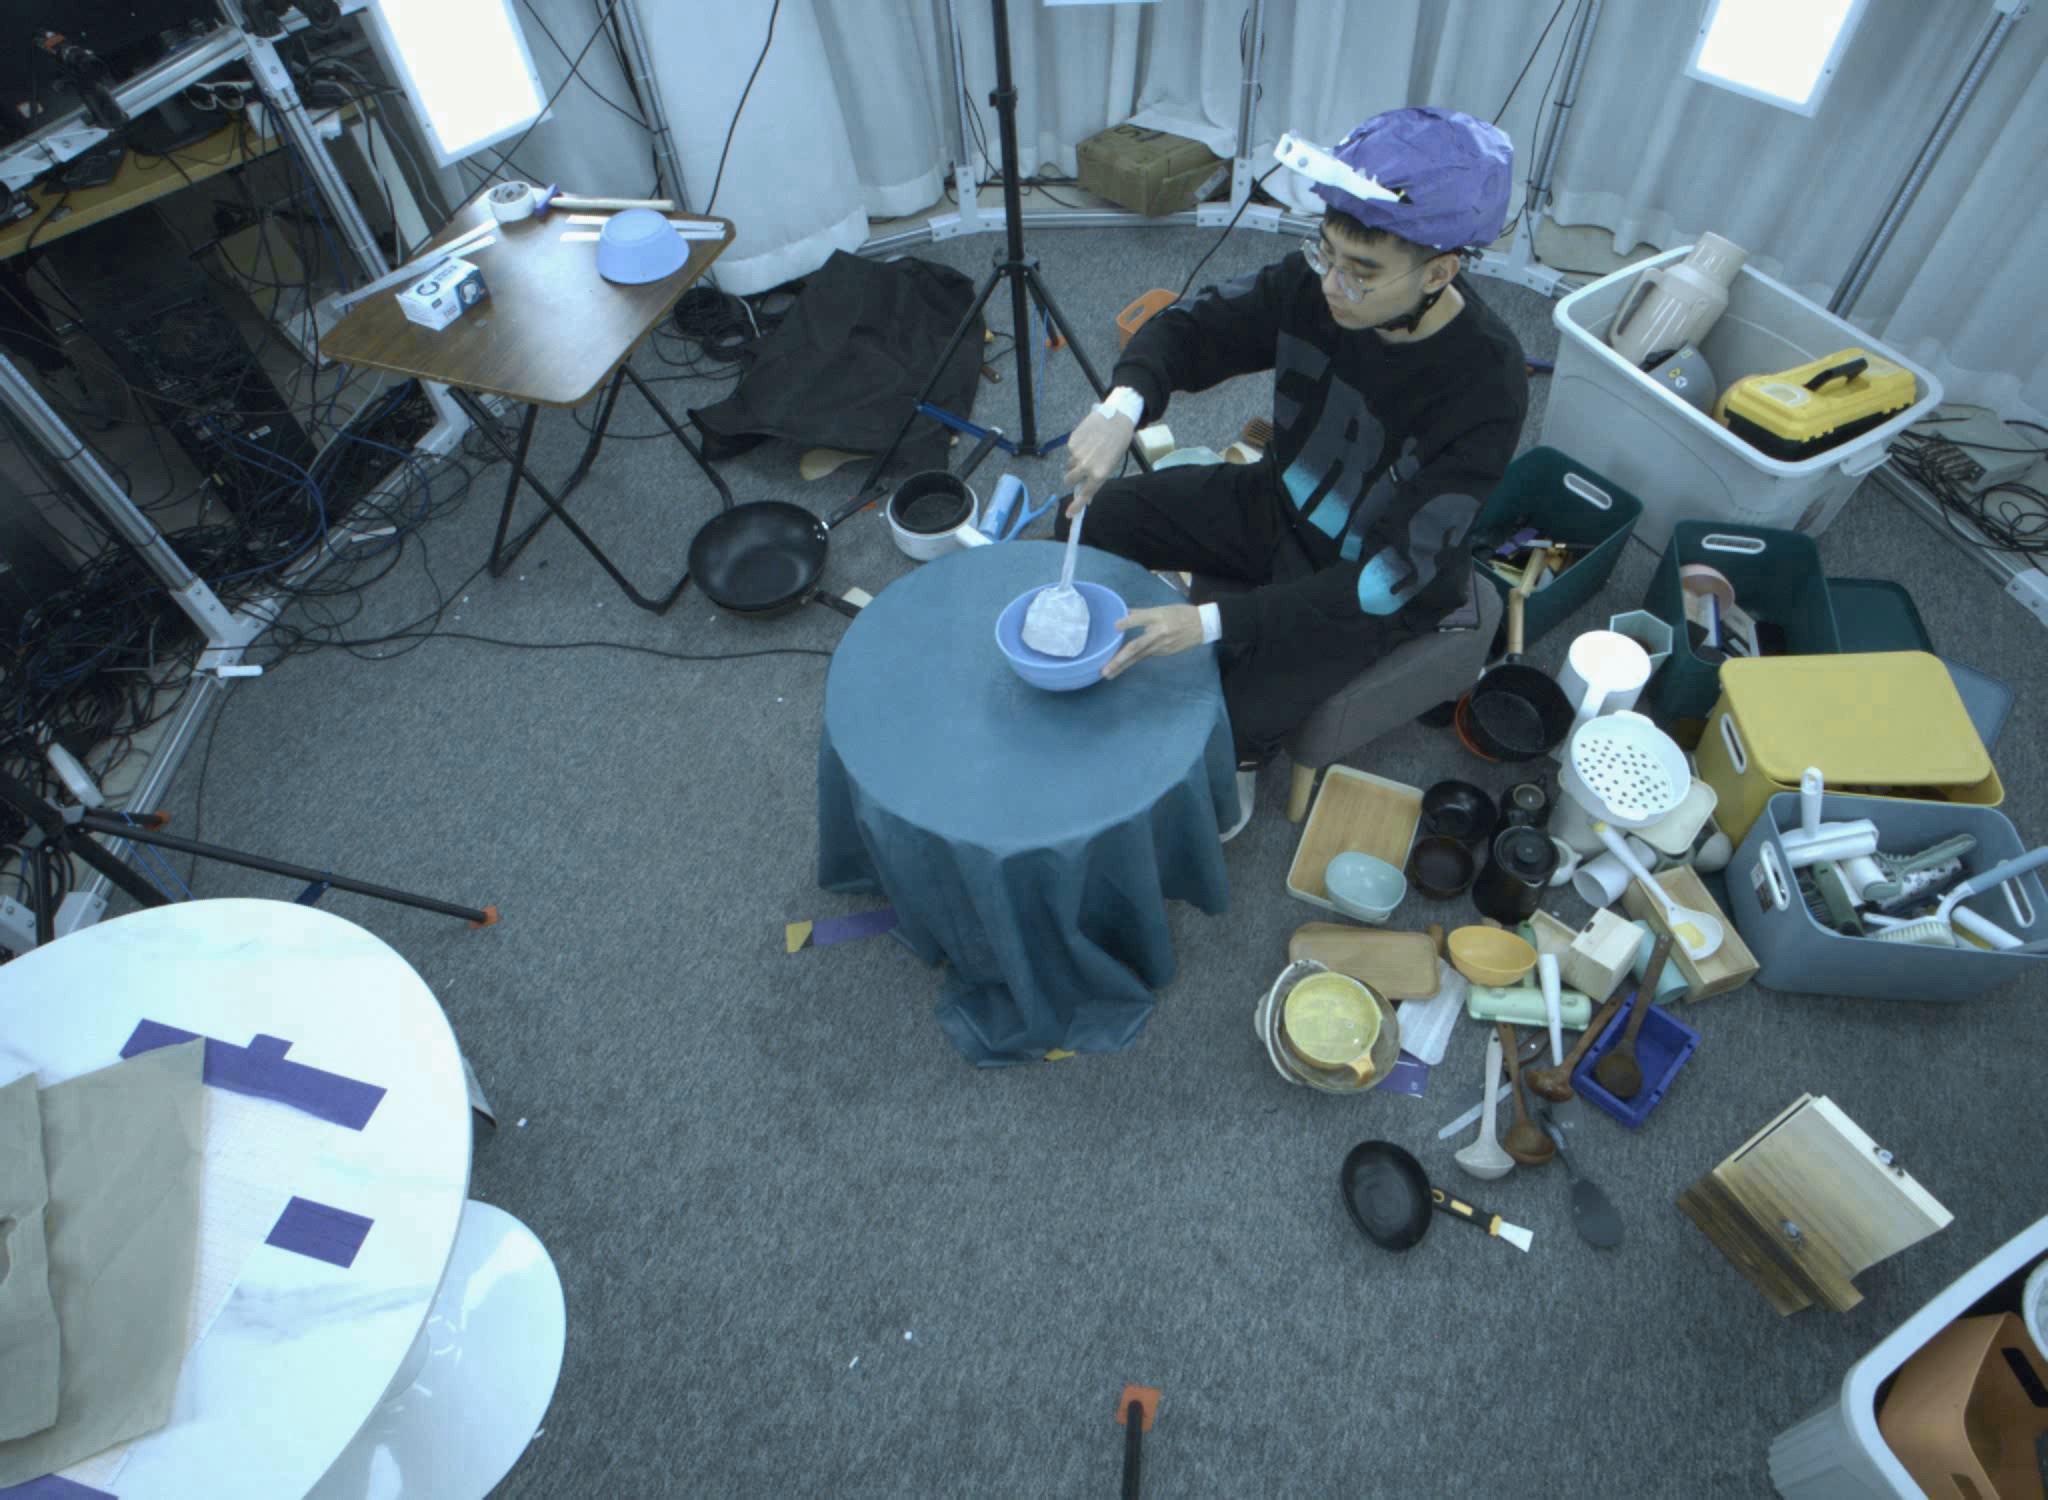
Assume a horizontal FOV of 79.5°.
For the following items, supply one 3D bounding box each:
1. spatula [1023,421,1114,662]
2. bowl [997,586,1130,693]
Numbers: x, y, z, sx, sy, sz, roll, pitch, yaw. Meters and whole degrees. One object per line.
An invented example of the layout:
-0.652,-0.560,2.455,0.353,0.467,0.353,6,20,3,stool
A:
0.077,-0.307,1.800,0.098,0.366,0.045,16,26,8,spatula
0.064,-0.150,1.833,0.196,0.097,0.194,-6,44,7,bowl
